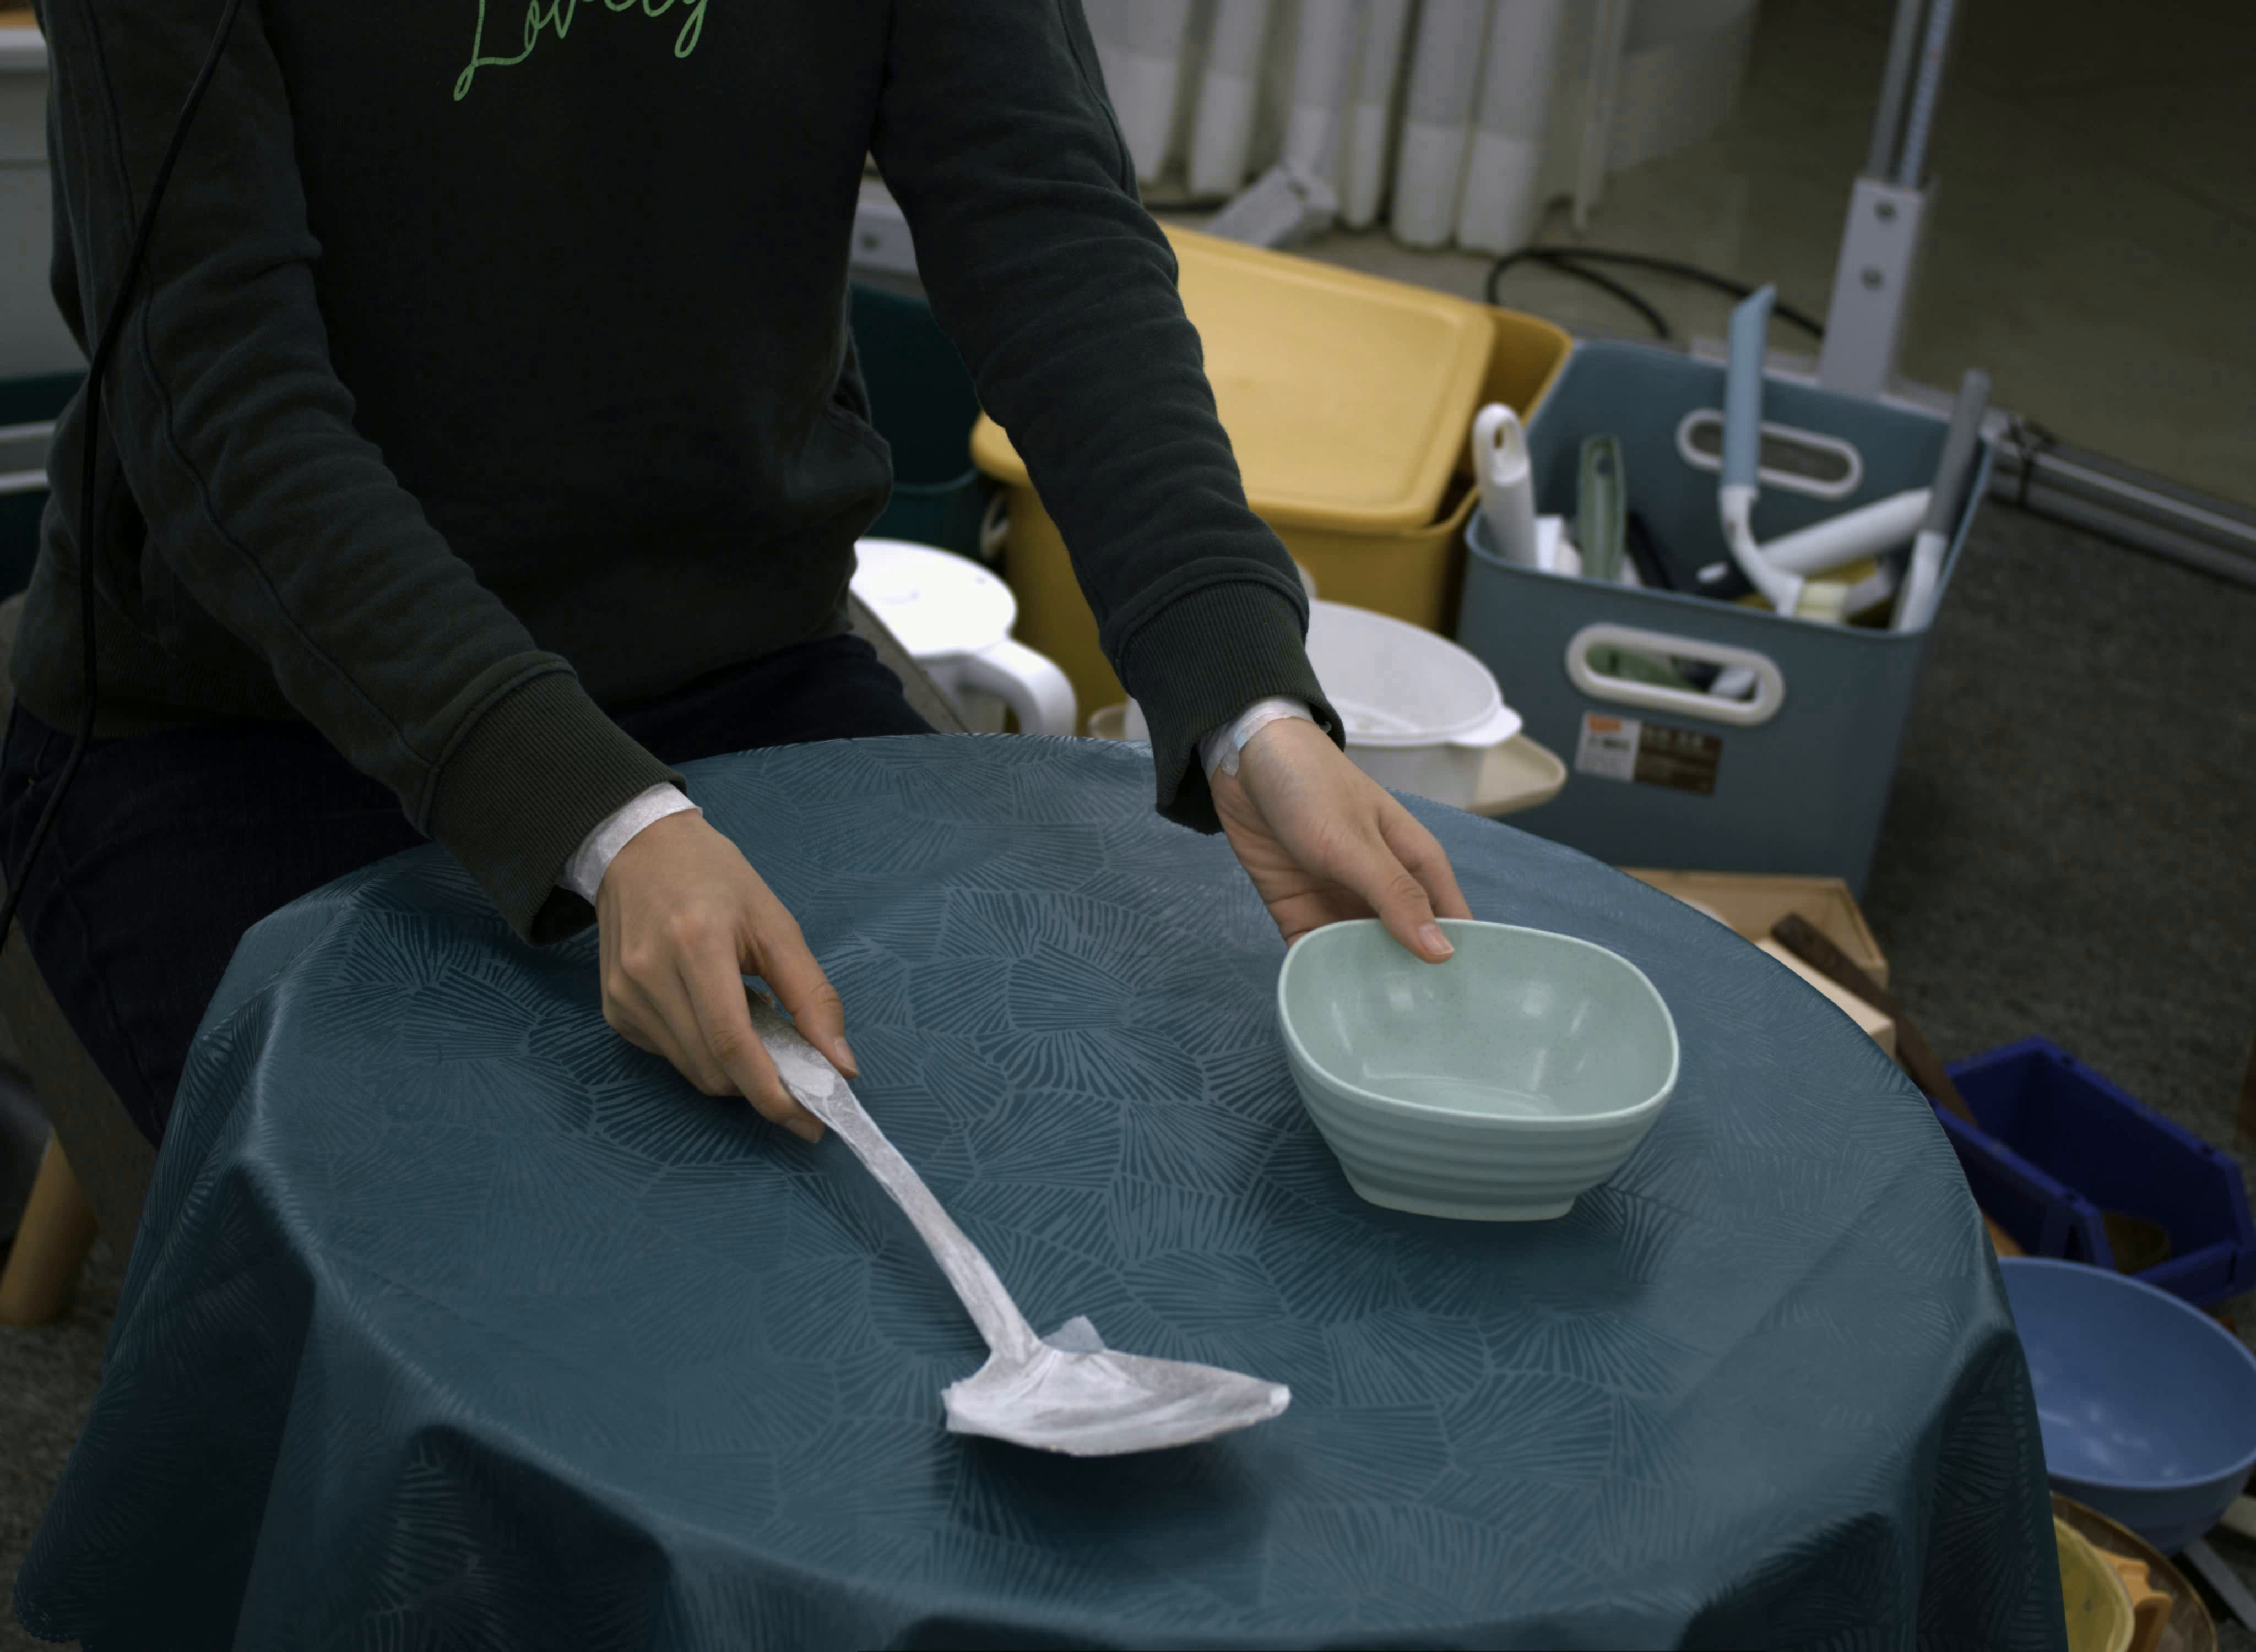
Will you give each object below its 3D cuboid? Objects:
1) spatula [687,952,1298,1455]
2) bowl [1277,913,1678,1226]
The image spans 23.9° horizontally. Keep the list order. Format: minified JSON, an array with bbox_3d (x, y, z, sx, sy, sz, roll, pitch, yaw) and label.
[{"bbox_3d":[-0.069,0.115,1.749,0.098,0.044,0.368,-9,33,-28],"label":"spatula"},{"bbox_3d":[0.116,0.090,1.831,0.151,0.058,0.152,7,28,-4],"label":"bowl"}]
